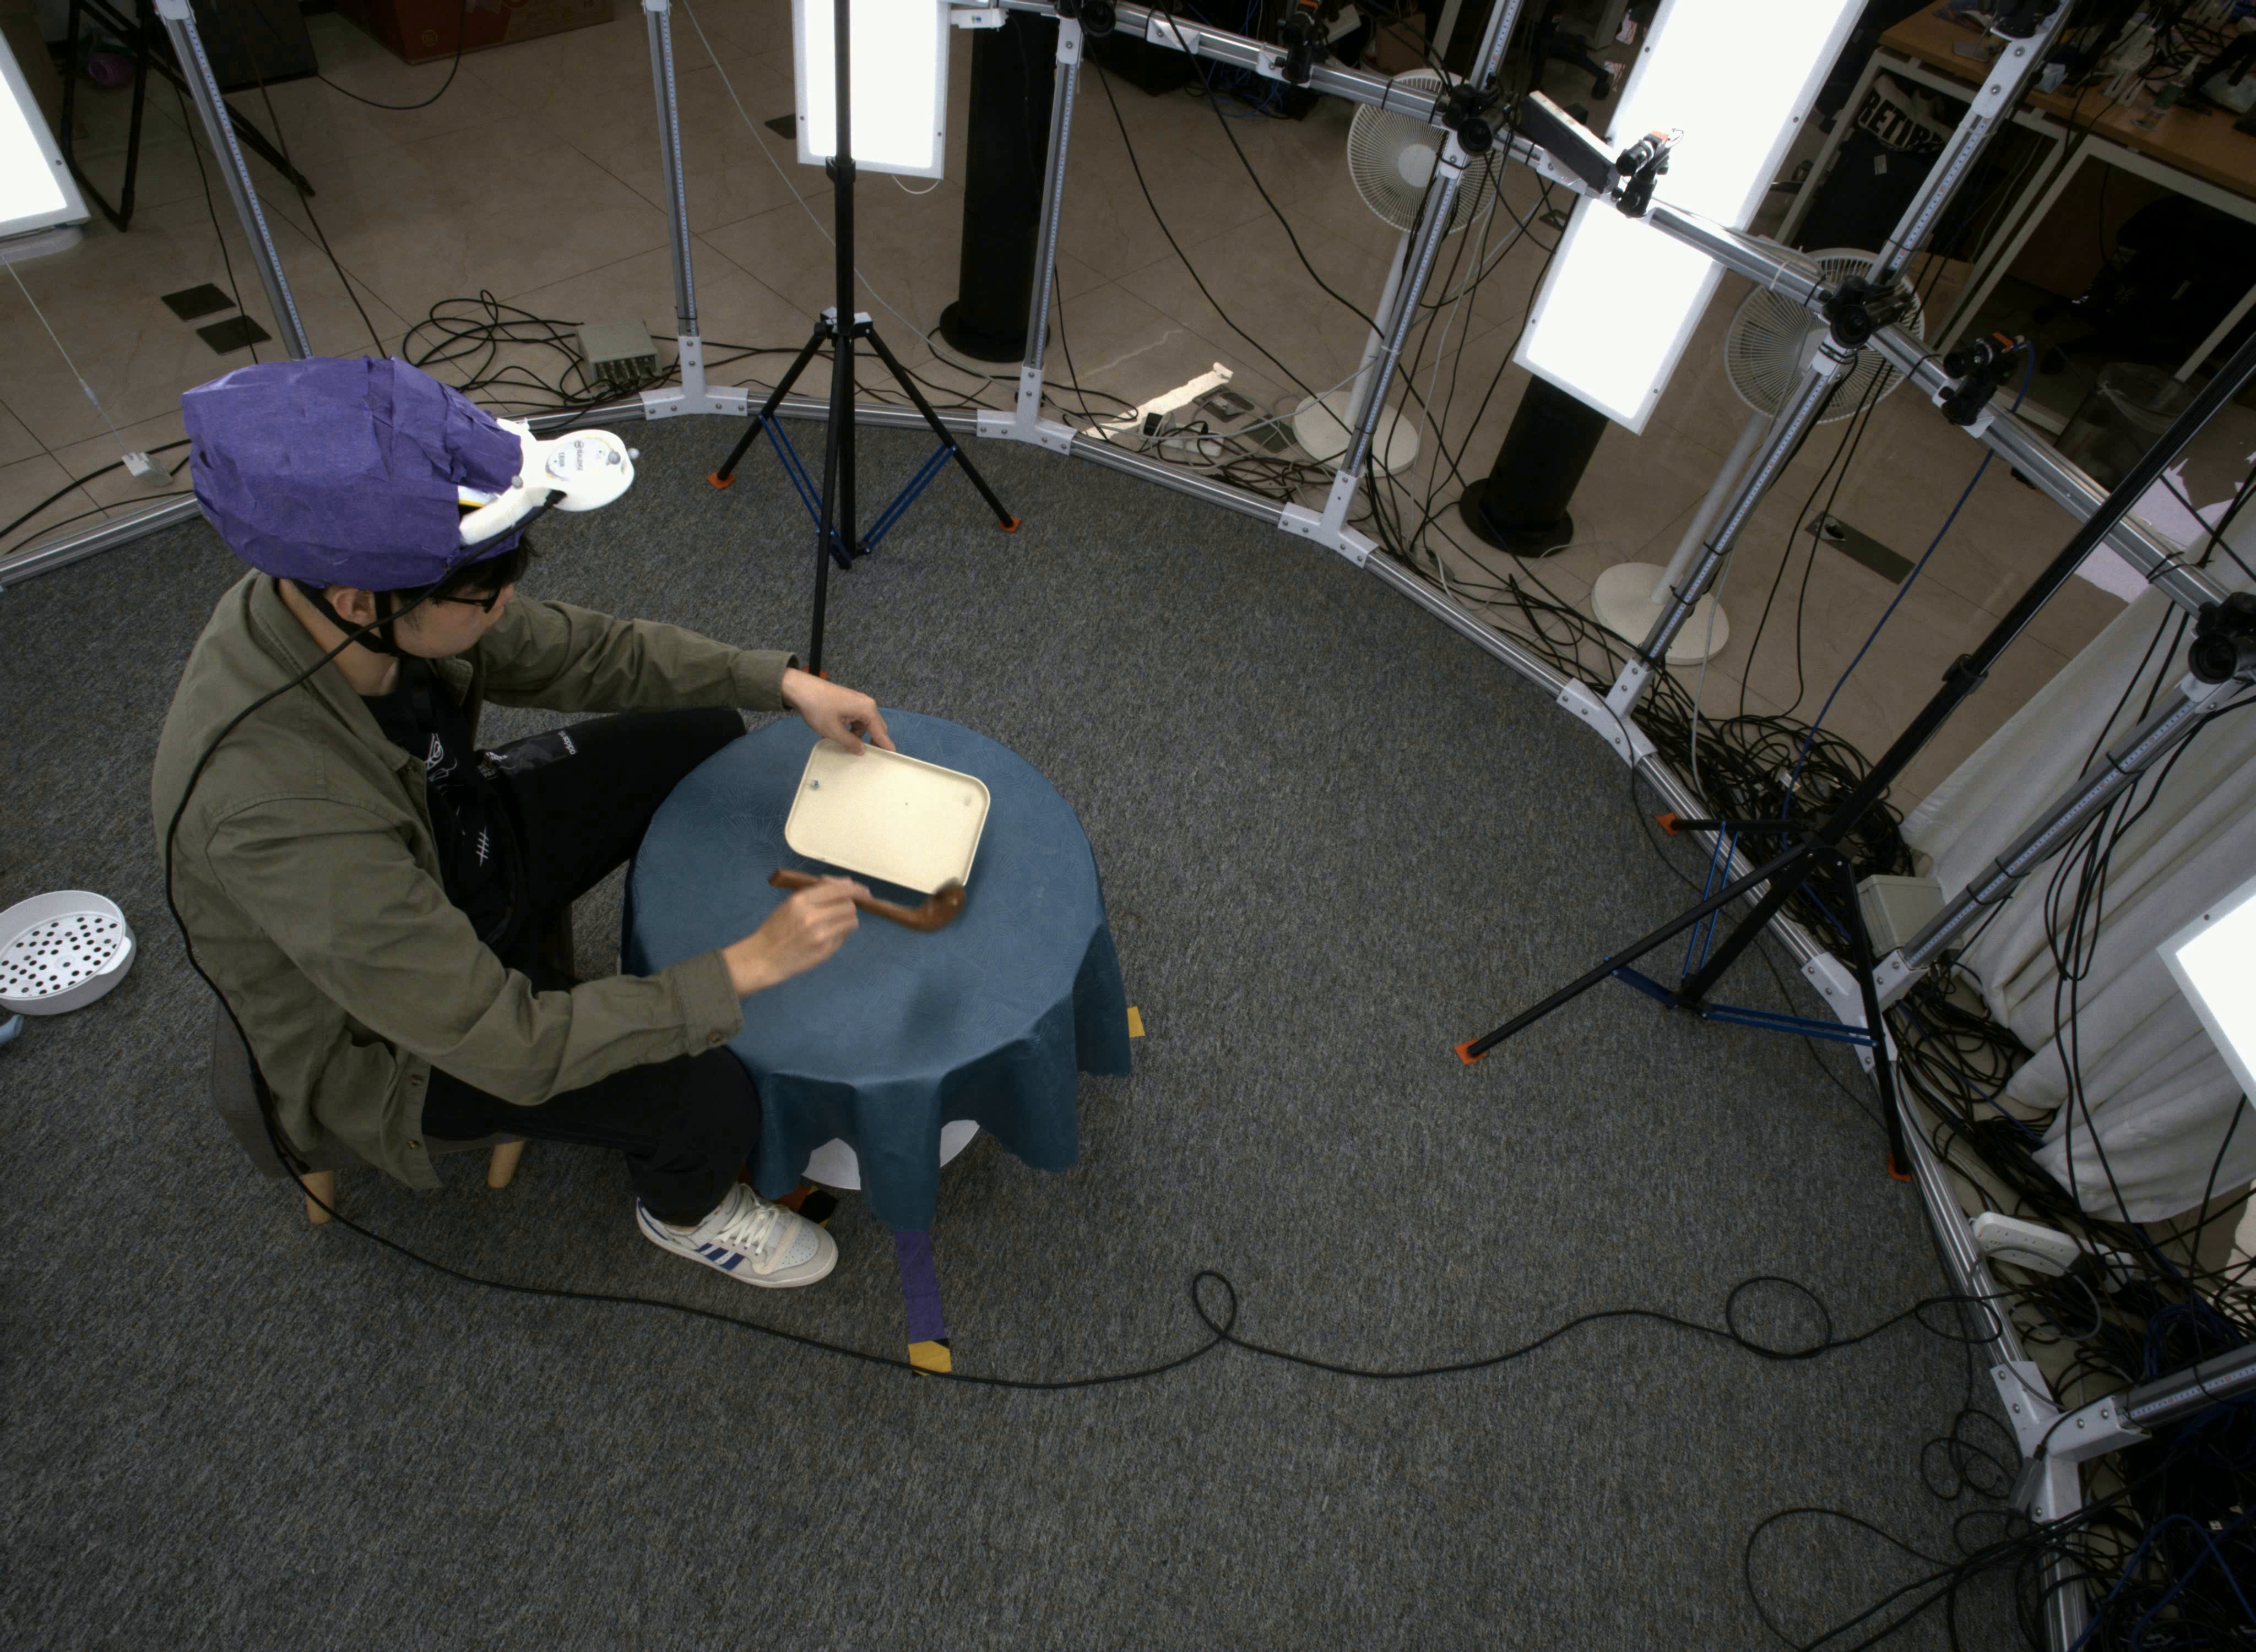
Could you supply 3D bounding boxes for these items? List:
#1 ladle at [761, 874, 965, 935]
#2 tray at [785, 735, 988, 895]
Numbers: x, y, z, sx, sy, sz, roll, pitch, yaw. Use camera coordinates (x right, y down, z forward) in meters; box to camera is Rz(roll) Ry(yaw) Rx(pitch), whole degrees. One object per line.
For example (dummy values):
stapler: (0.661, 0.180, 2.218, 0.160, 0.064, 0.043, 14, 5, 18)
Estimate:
ladle: (-0.297, 0.067, 1.475, 0.282, 0.081, 0.074, 22, 36, -45)
tray: (-0.310, -0.013, 1.682, 0.240, 0.017, 0.170, 17, 70, -11)
